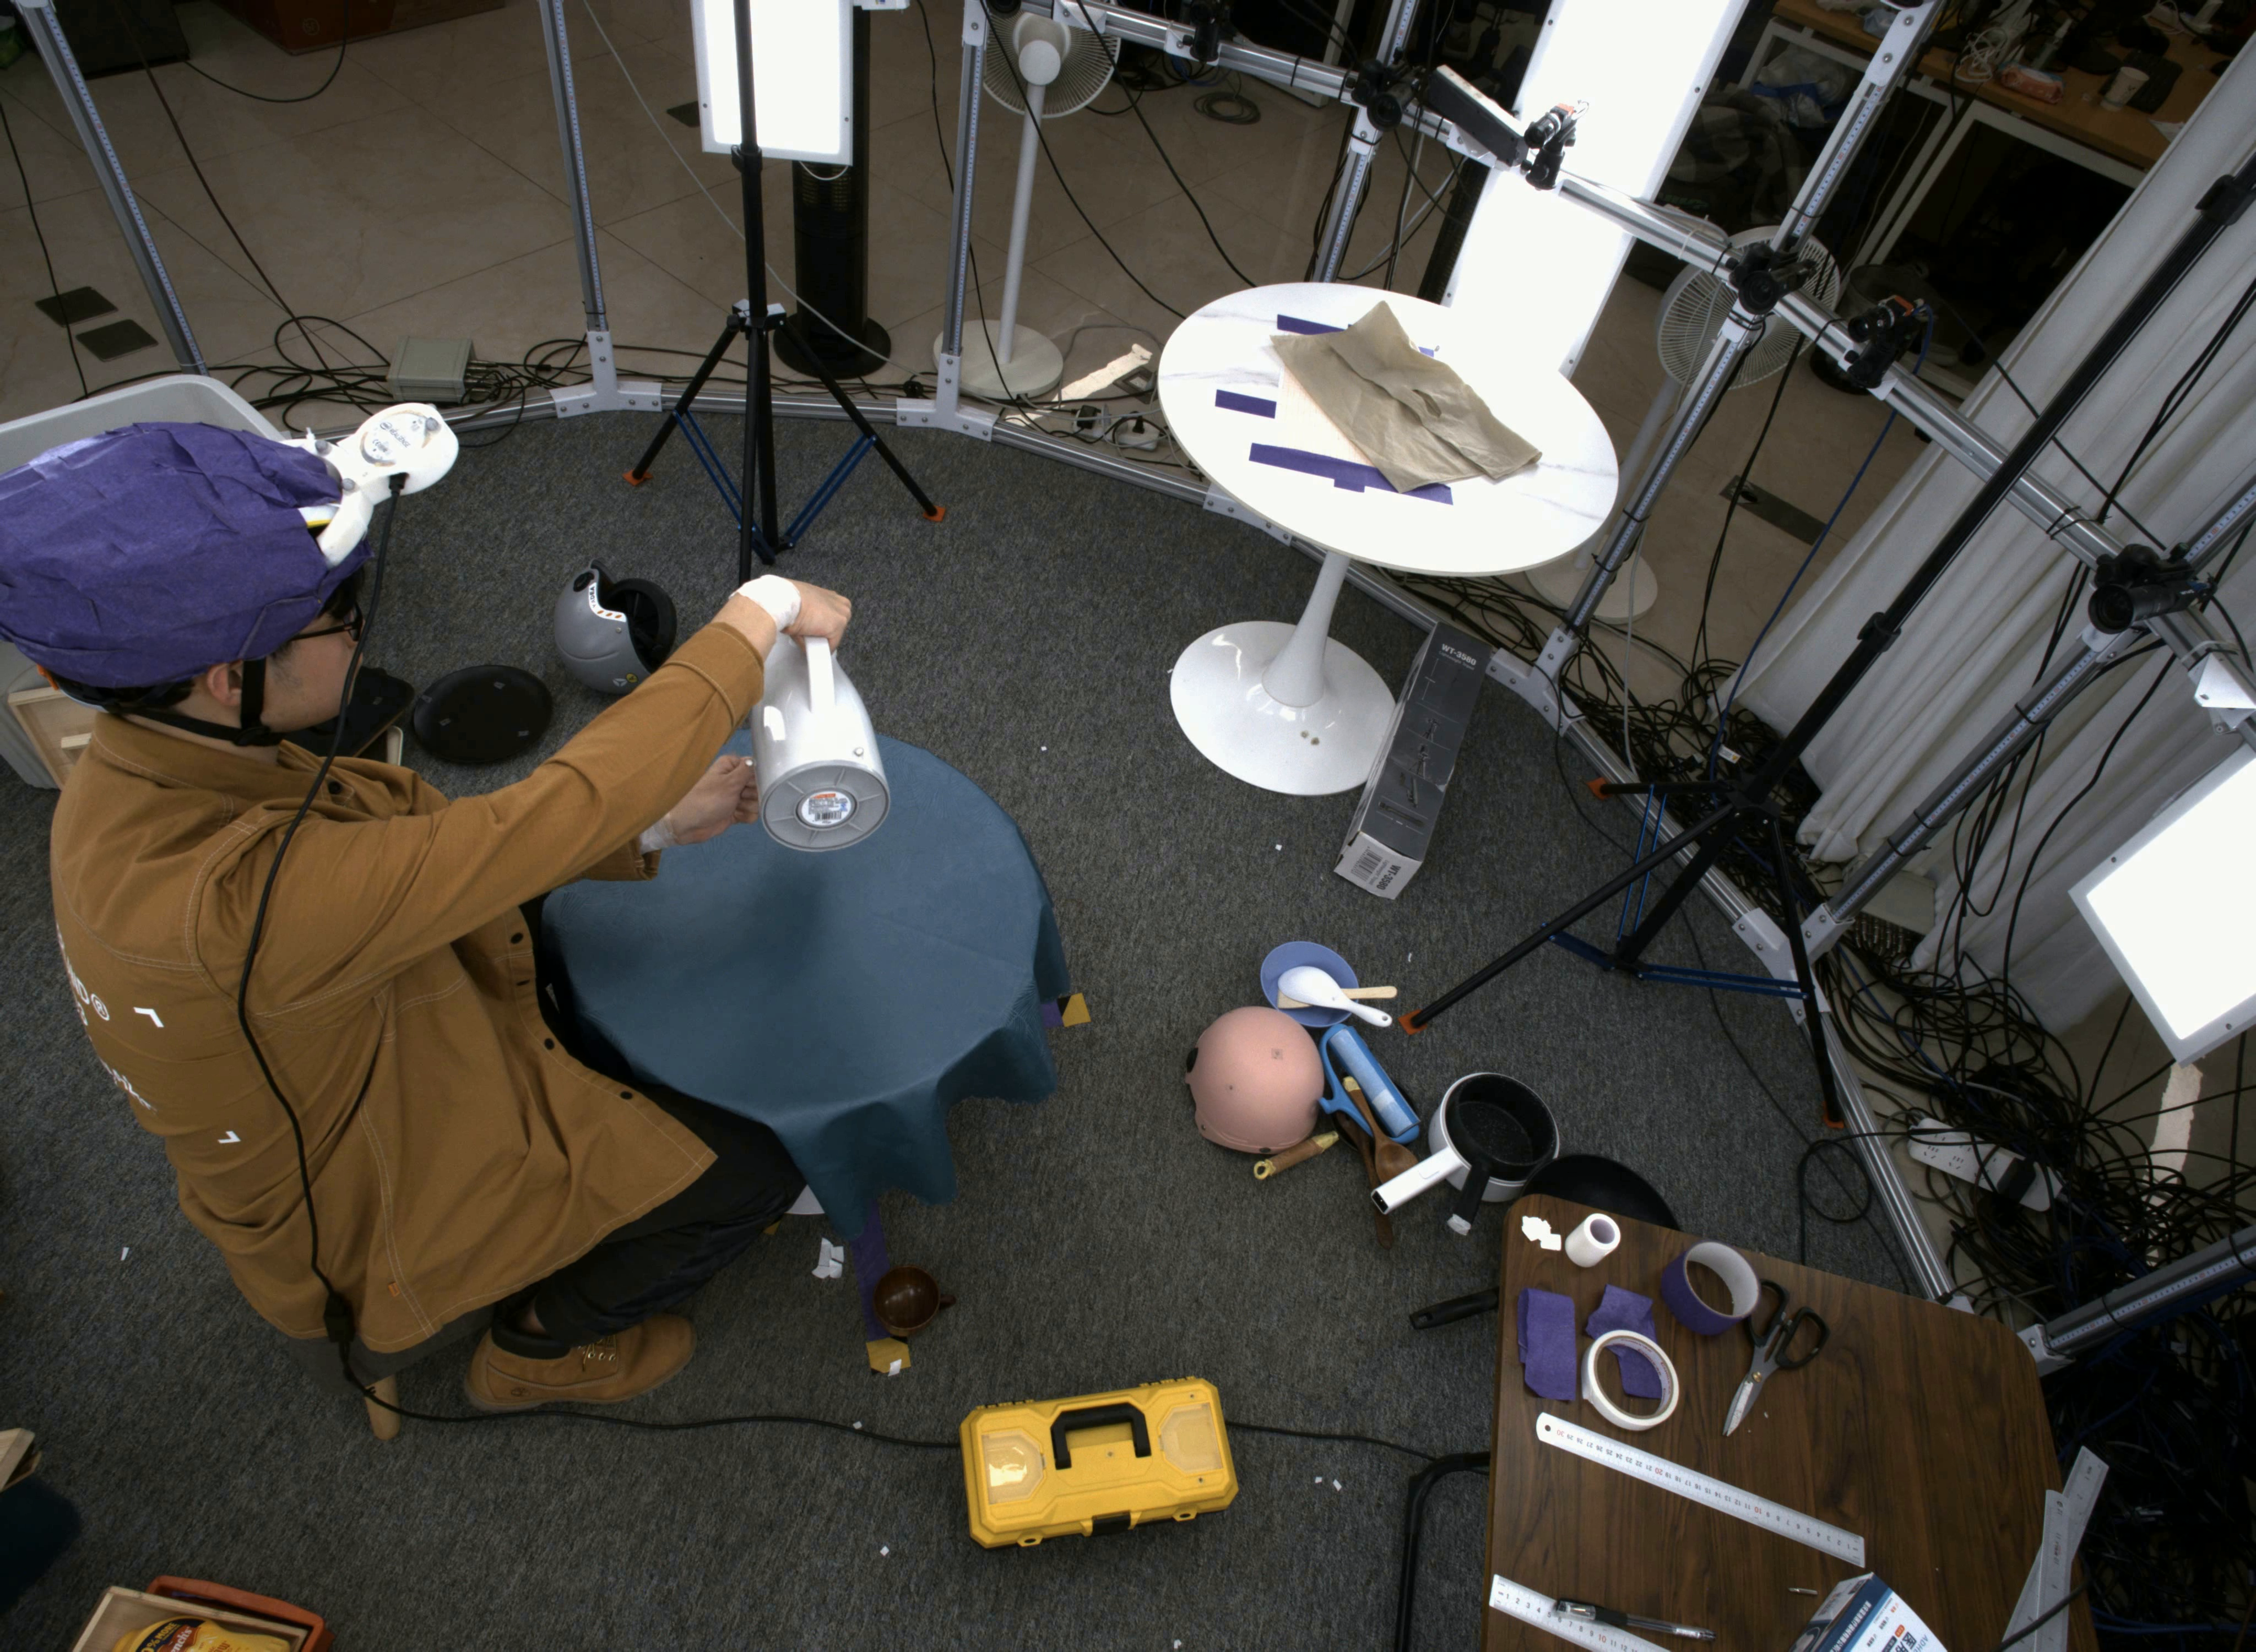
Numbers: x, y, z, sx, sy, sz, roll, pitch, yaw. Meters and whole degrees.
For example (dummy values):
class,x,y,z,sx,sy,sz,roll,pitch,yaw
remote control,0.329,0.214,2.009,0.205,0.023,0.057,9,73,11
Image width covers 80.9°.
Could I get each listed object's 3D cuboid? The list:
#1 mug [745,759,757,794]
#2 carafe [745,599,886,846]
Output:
class,x,y,z,sx,sy,sz,roll,pitch,yaw
mug,-0.413,-0.082,1.550,0.083,0.104,0.118,30,50,12
carafe,-0.337,-0.128,1.364,0.134,0.170,0.242,-1,49,-24
